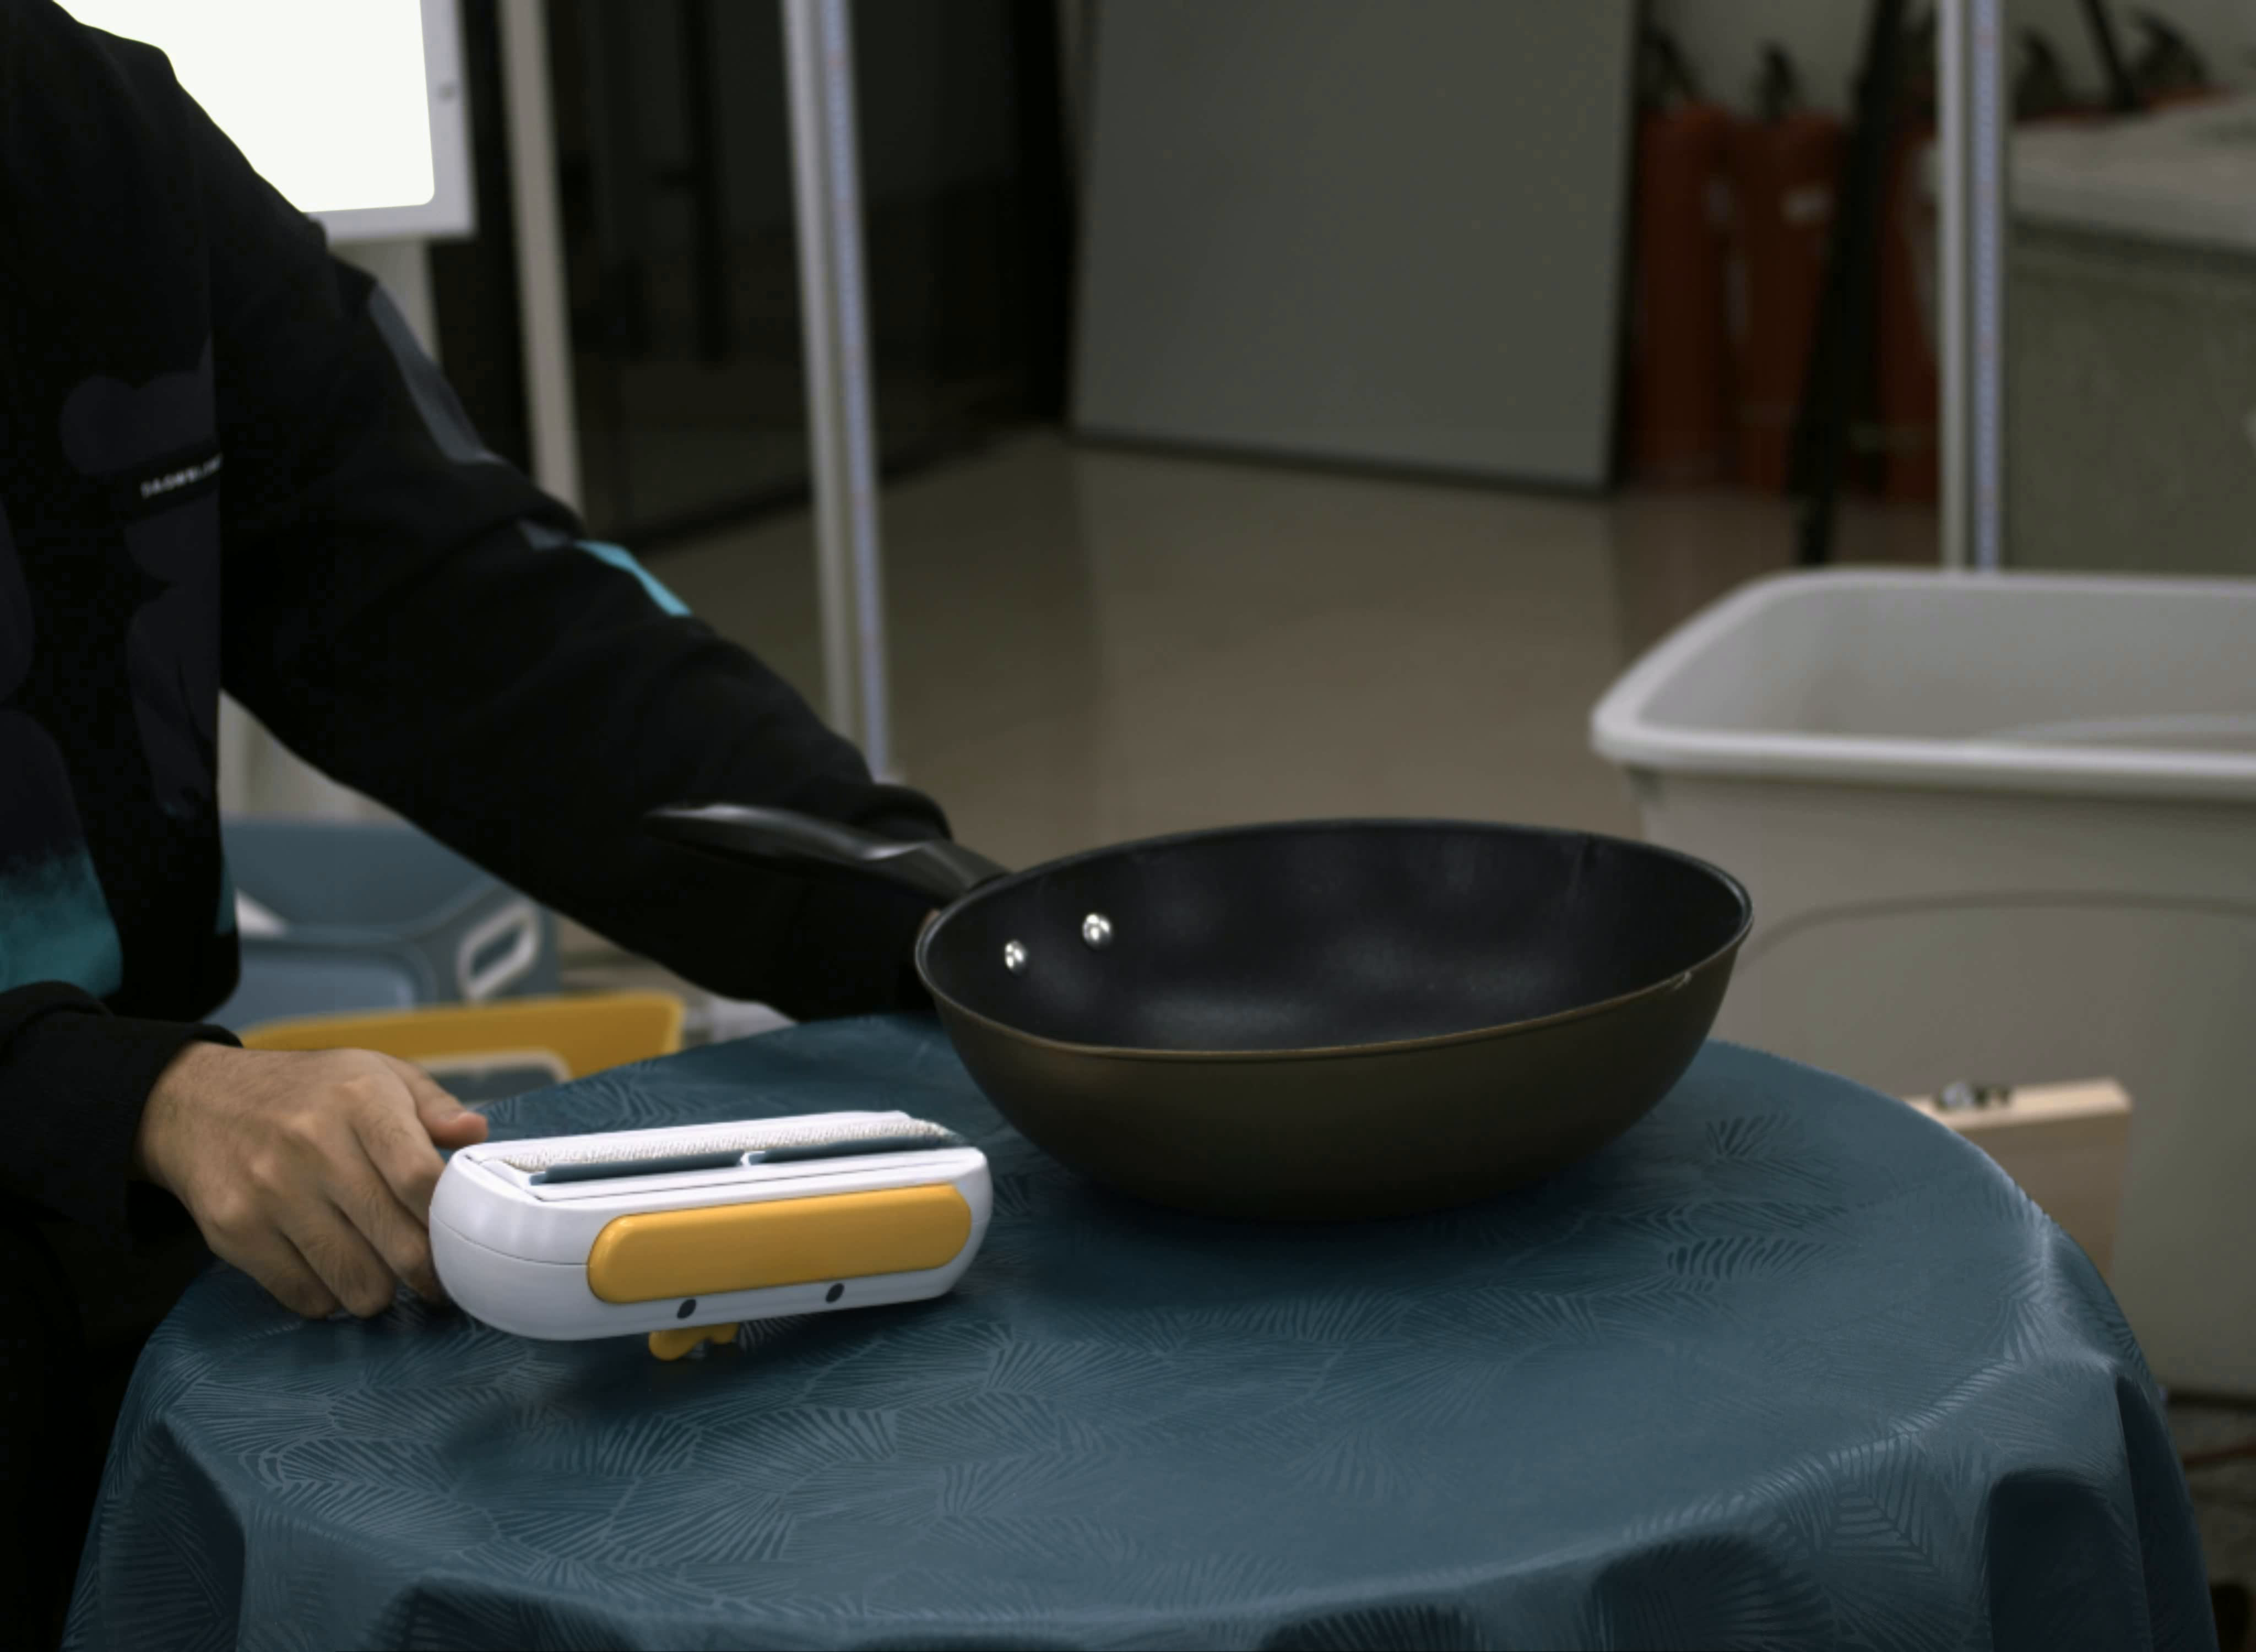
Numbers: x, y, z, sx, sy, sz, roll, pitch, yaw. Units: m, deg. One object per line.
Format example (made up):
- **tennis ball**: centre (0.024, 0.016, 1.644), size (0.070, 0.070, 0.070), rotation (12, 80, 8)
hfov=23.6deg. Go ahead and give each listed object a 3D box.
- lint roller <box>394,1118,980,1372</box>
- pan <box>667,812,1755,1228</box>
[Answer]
- **lint roller**: centre (-0.165, 0.121, 1.681), size (0.188, 0.075, 0.194), rotation (-7, 11, -36)
- **pan**: centre (0.003, 0.060, 1.844), size (0.467, 0.088, 0.282), rotation (8, 19, 42)
